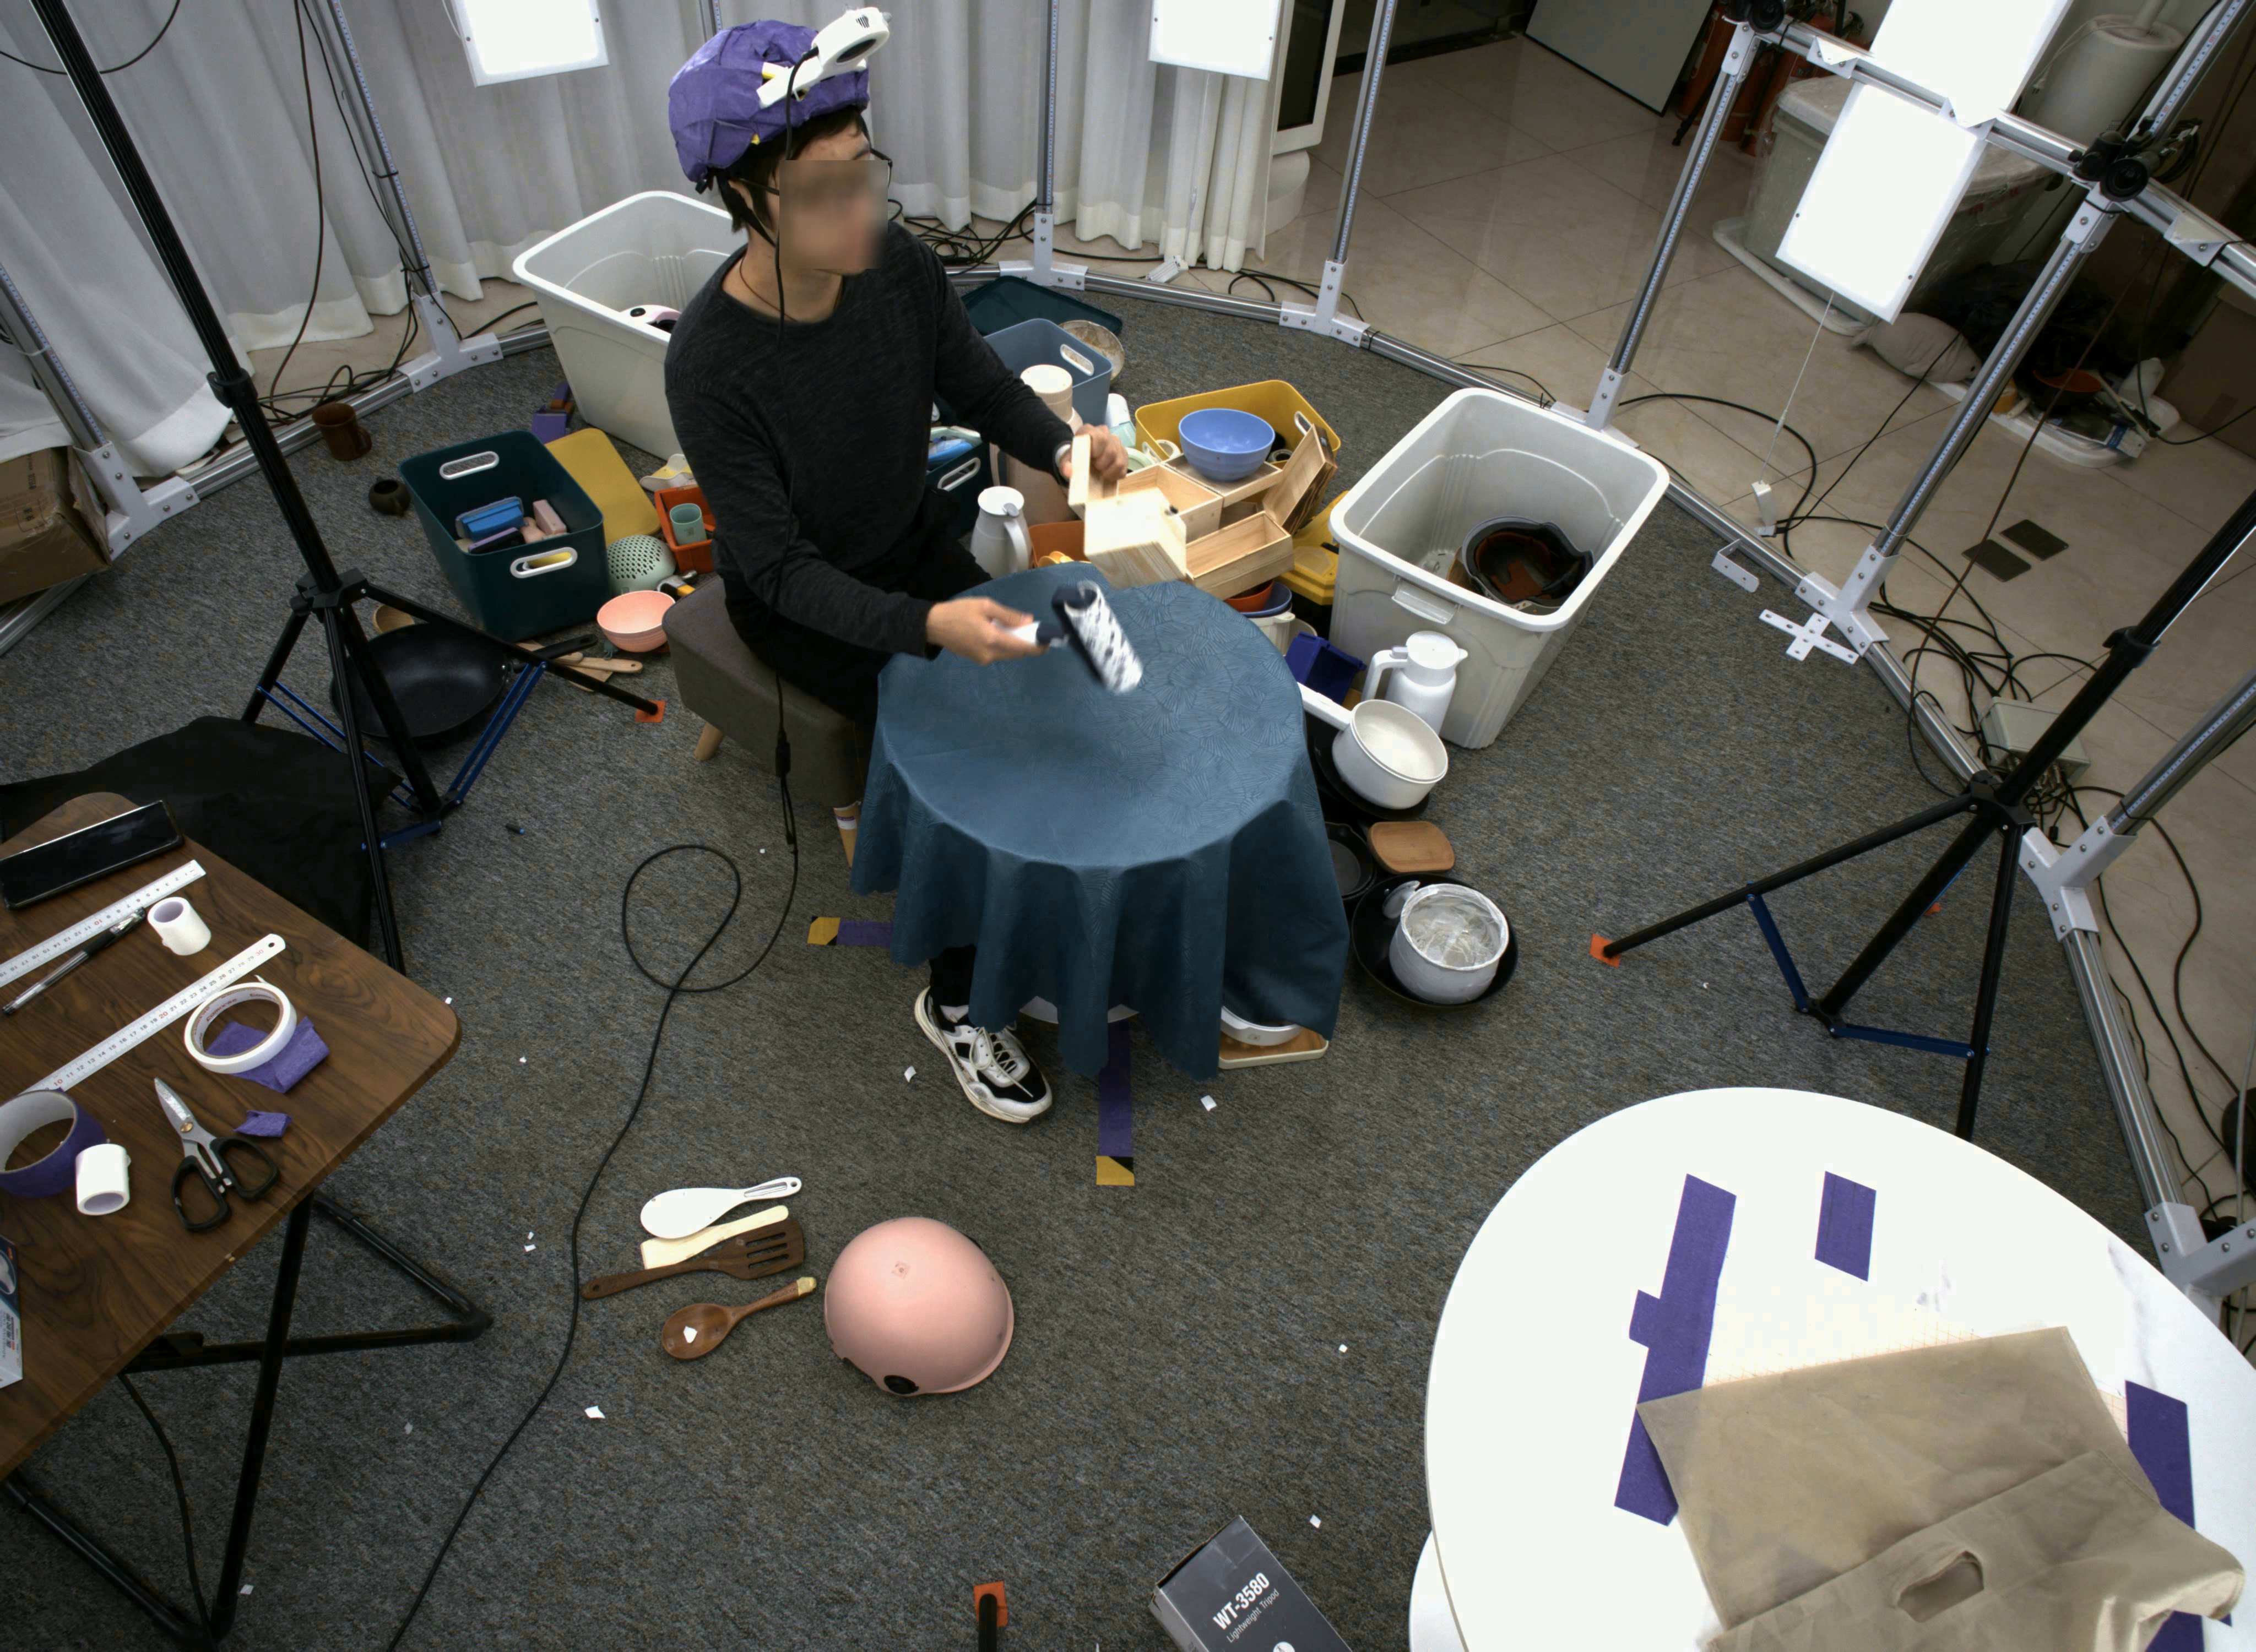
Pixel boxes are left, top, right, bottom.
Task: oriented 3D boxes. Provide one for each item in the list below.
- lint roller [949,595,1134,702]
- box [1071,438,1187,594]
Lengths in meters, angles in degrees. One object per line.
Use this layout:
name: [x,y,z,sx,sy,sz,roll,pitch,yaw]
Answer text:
lint roller: [-0.126,-0.233,1.663,0.248,0.172,0.051,6,60,25]
box: [0.005,-0.415,1.693,0.134,0.101,0.187,-7,69,21]
